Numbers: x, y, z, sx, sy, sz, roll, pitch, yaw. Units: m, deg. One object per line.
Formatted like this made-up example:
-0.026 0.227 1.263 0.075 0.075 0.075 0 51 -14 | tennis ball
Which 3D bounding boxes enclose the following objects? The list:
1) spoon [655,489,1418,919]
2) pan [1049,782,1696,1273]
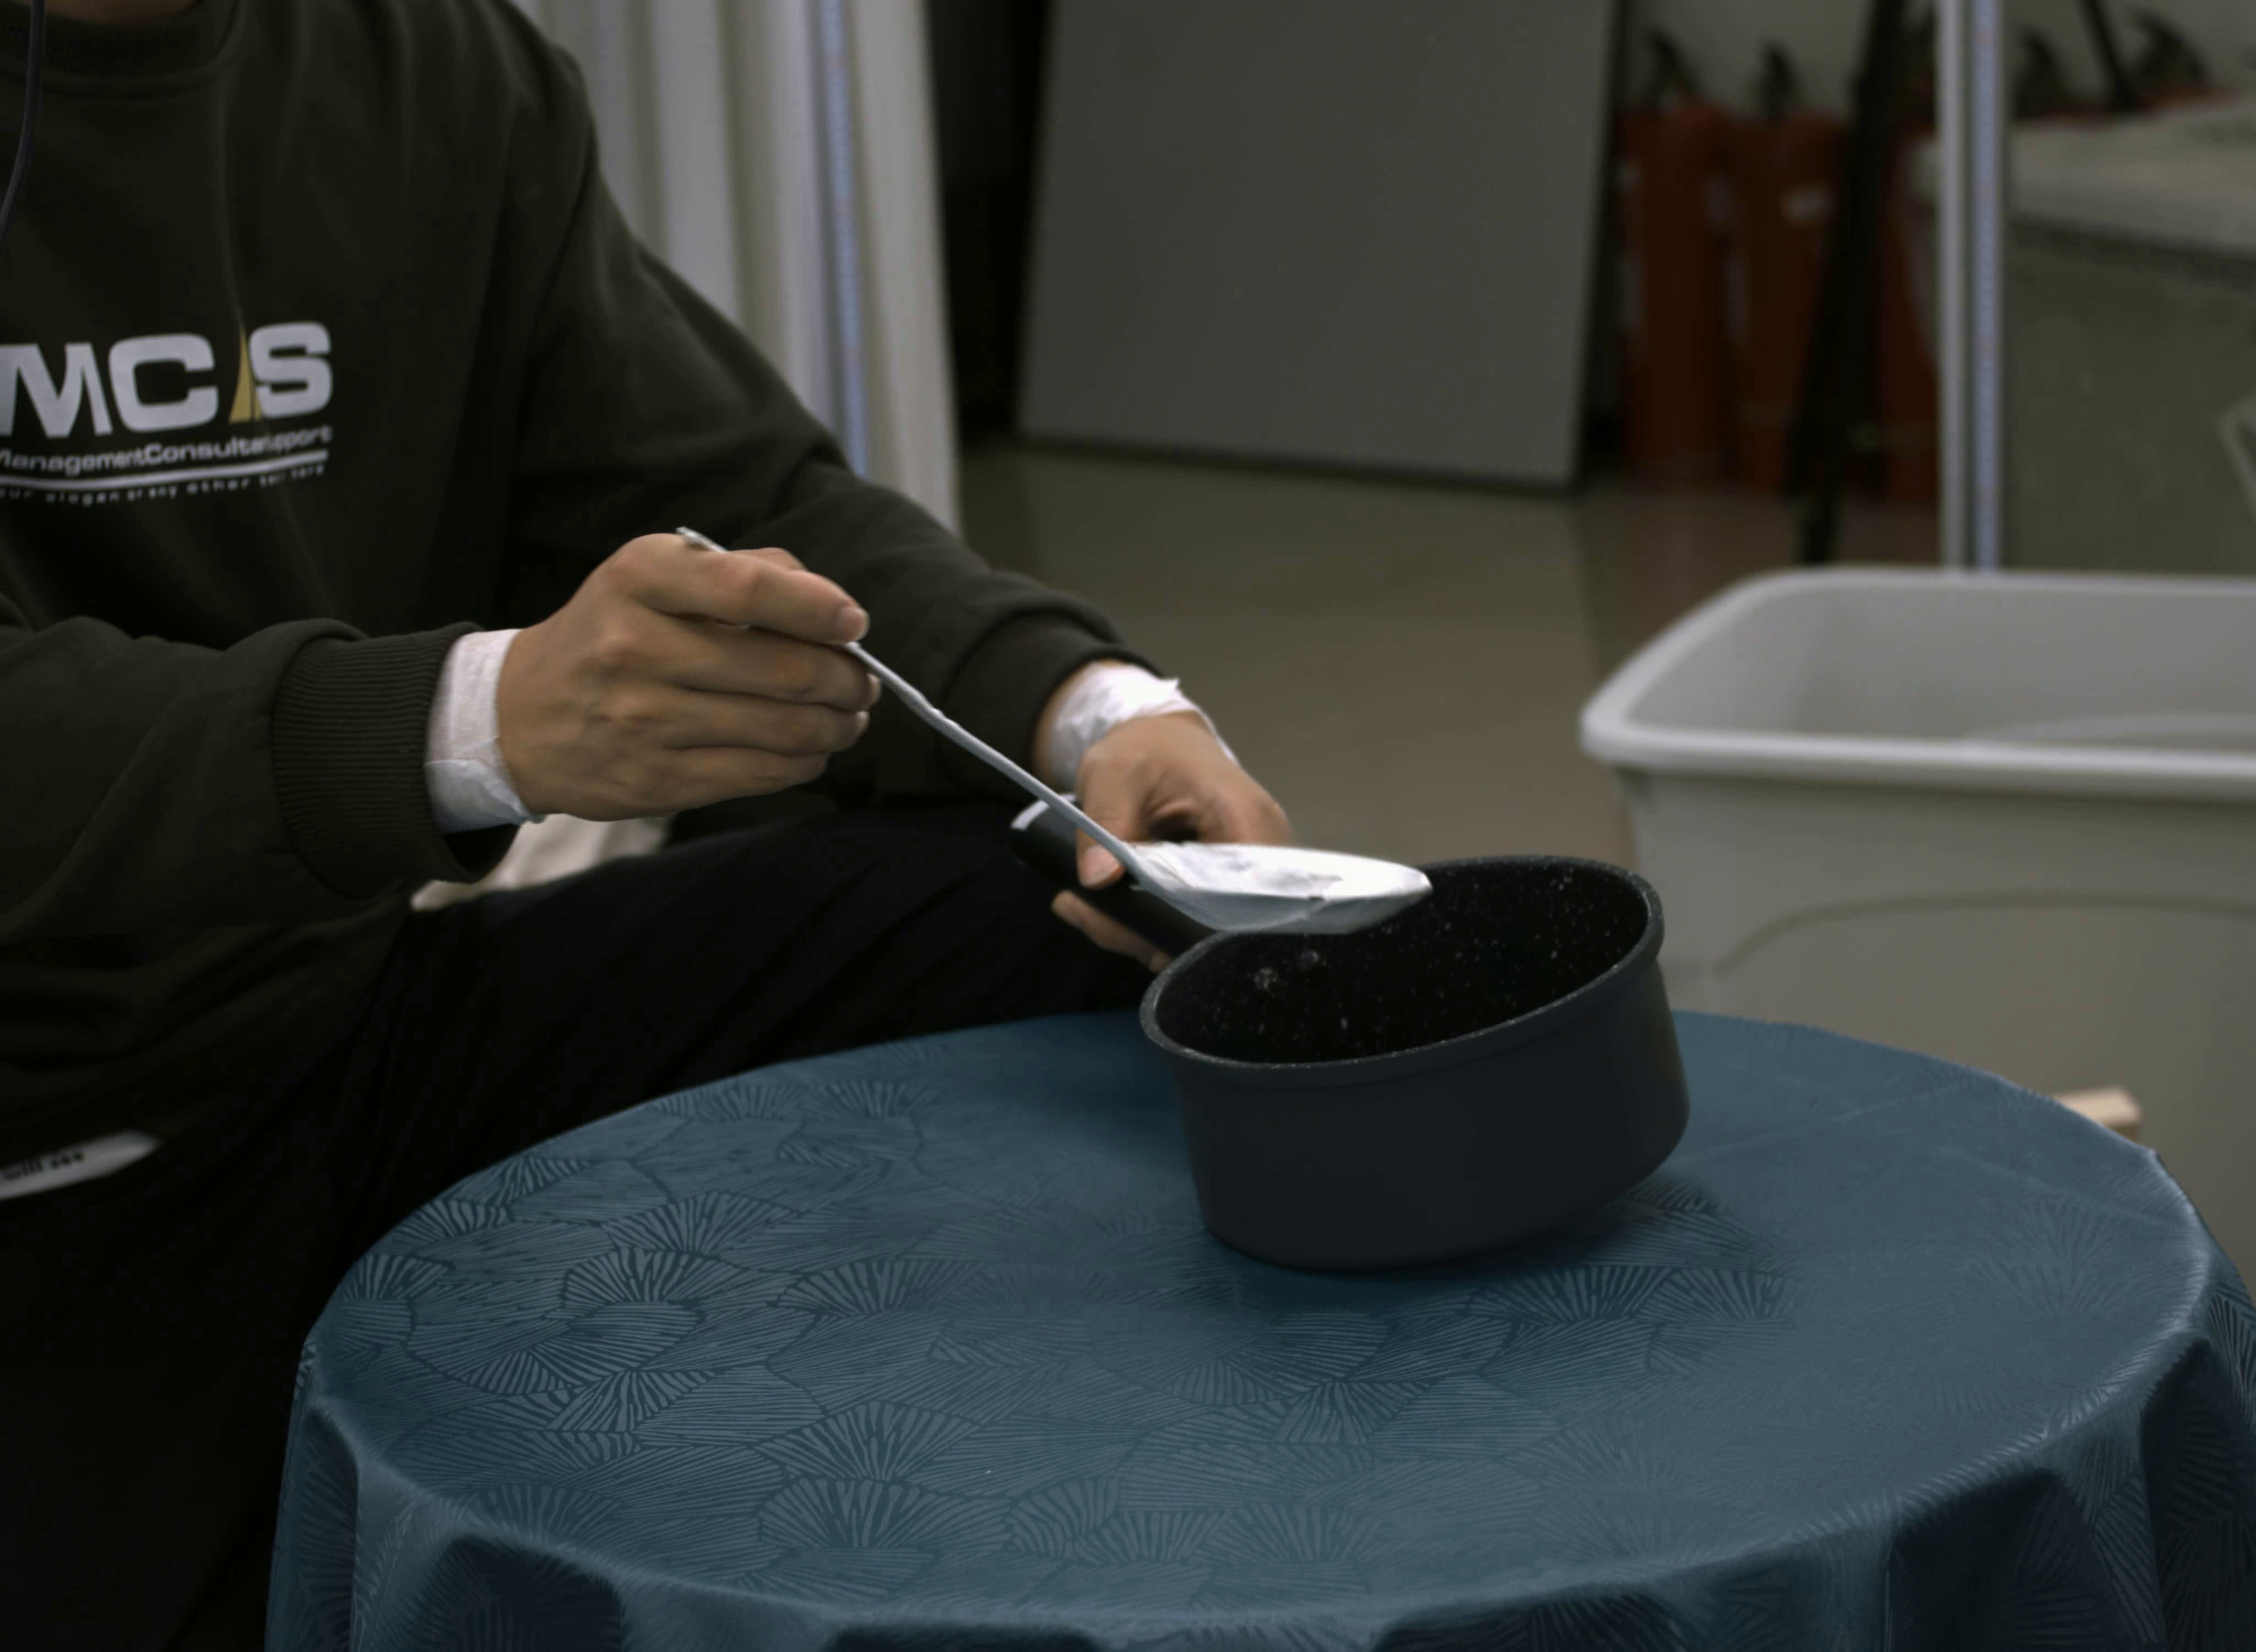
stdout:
-0.027 -0.043 1.643 0.273 0.059 0.102 37 -11 -25 | spoon
0.061 0.058 1.792 0.169 0.087 0.332 -20 19 -21 | pan
